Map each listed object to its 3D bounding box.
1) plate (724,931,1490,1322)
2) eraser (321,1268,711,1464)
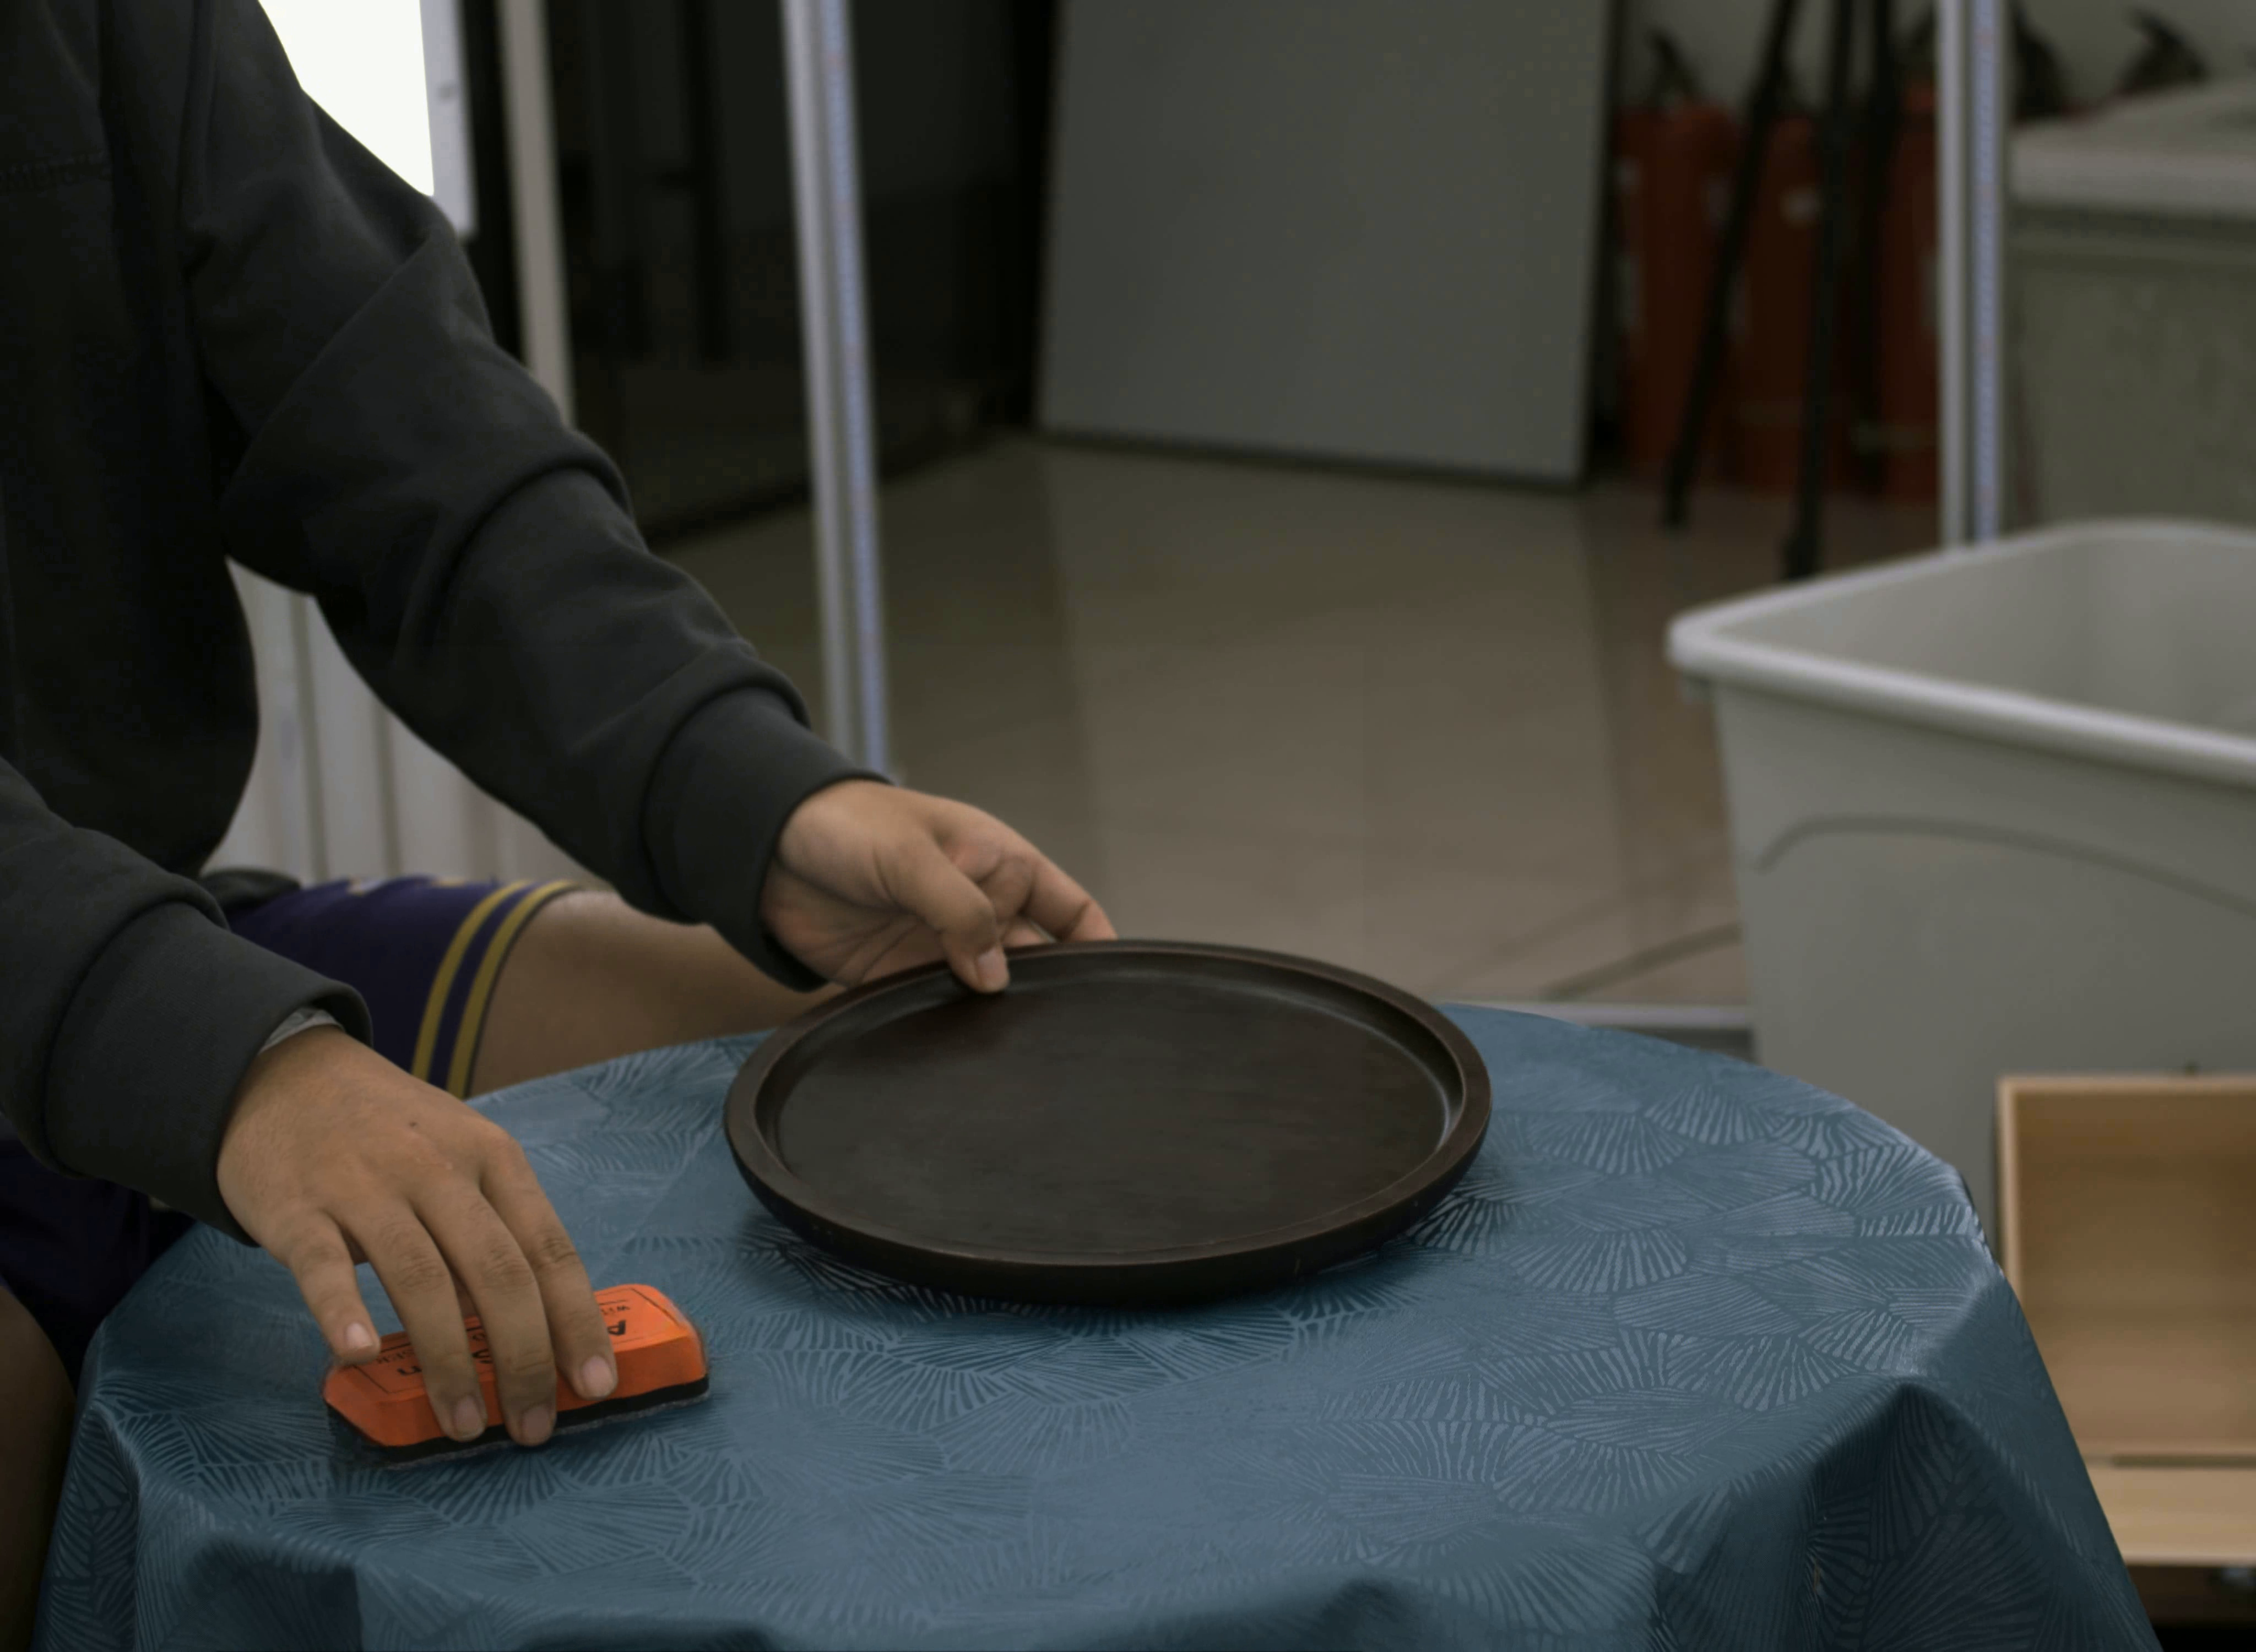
[{"bbox_3d":[-0.006,0.097,1.758,0.251,0.029,0.255,-4,23,1],"label":"plate"},{"bbox_3d":[-0.180,0.159,1.599,0.106,0.023,0.059,-11,18,-24],"label":"eraser"}]
